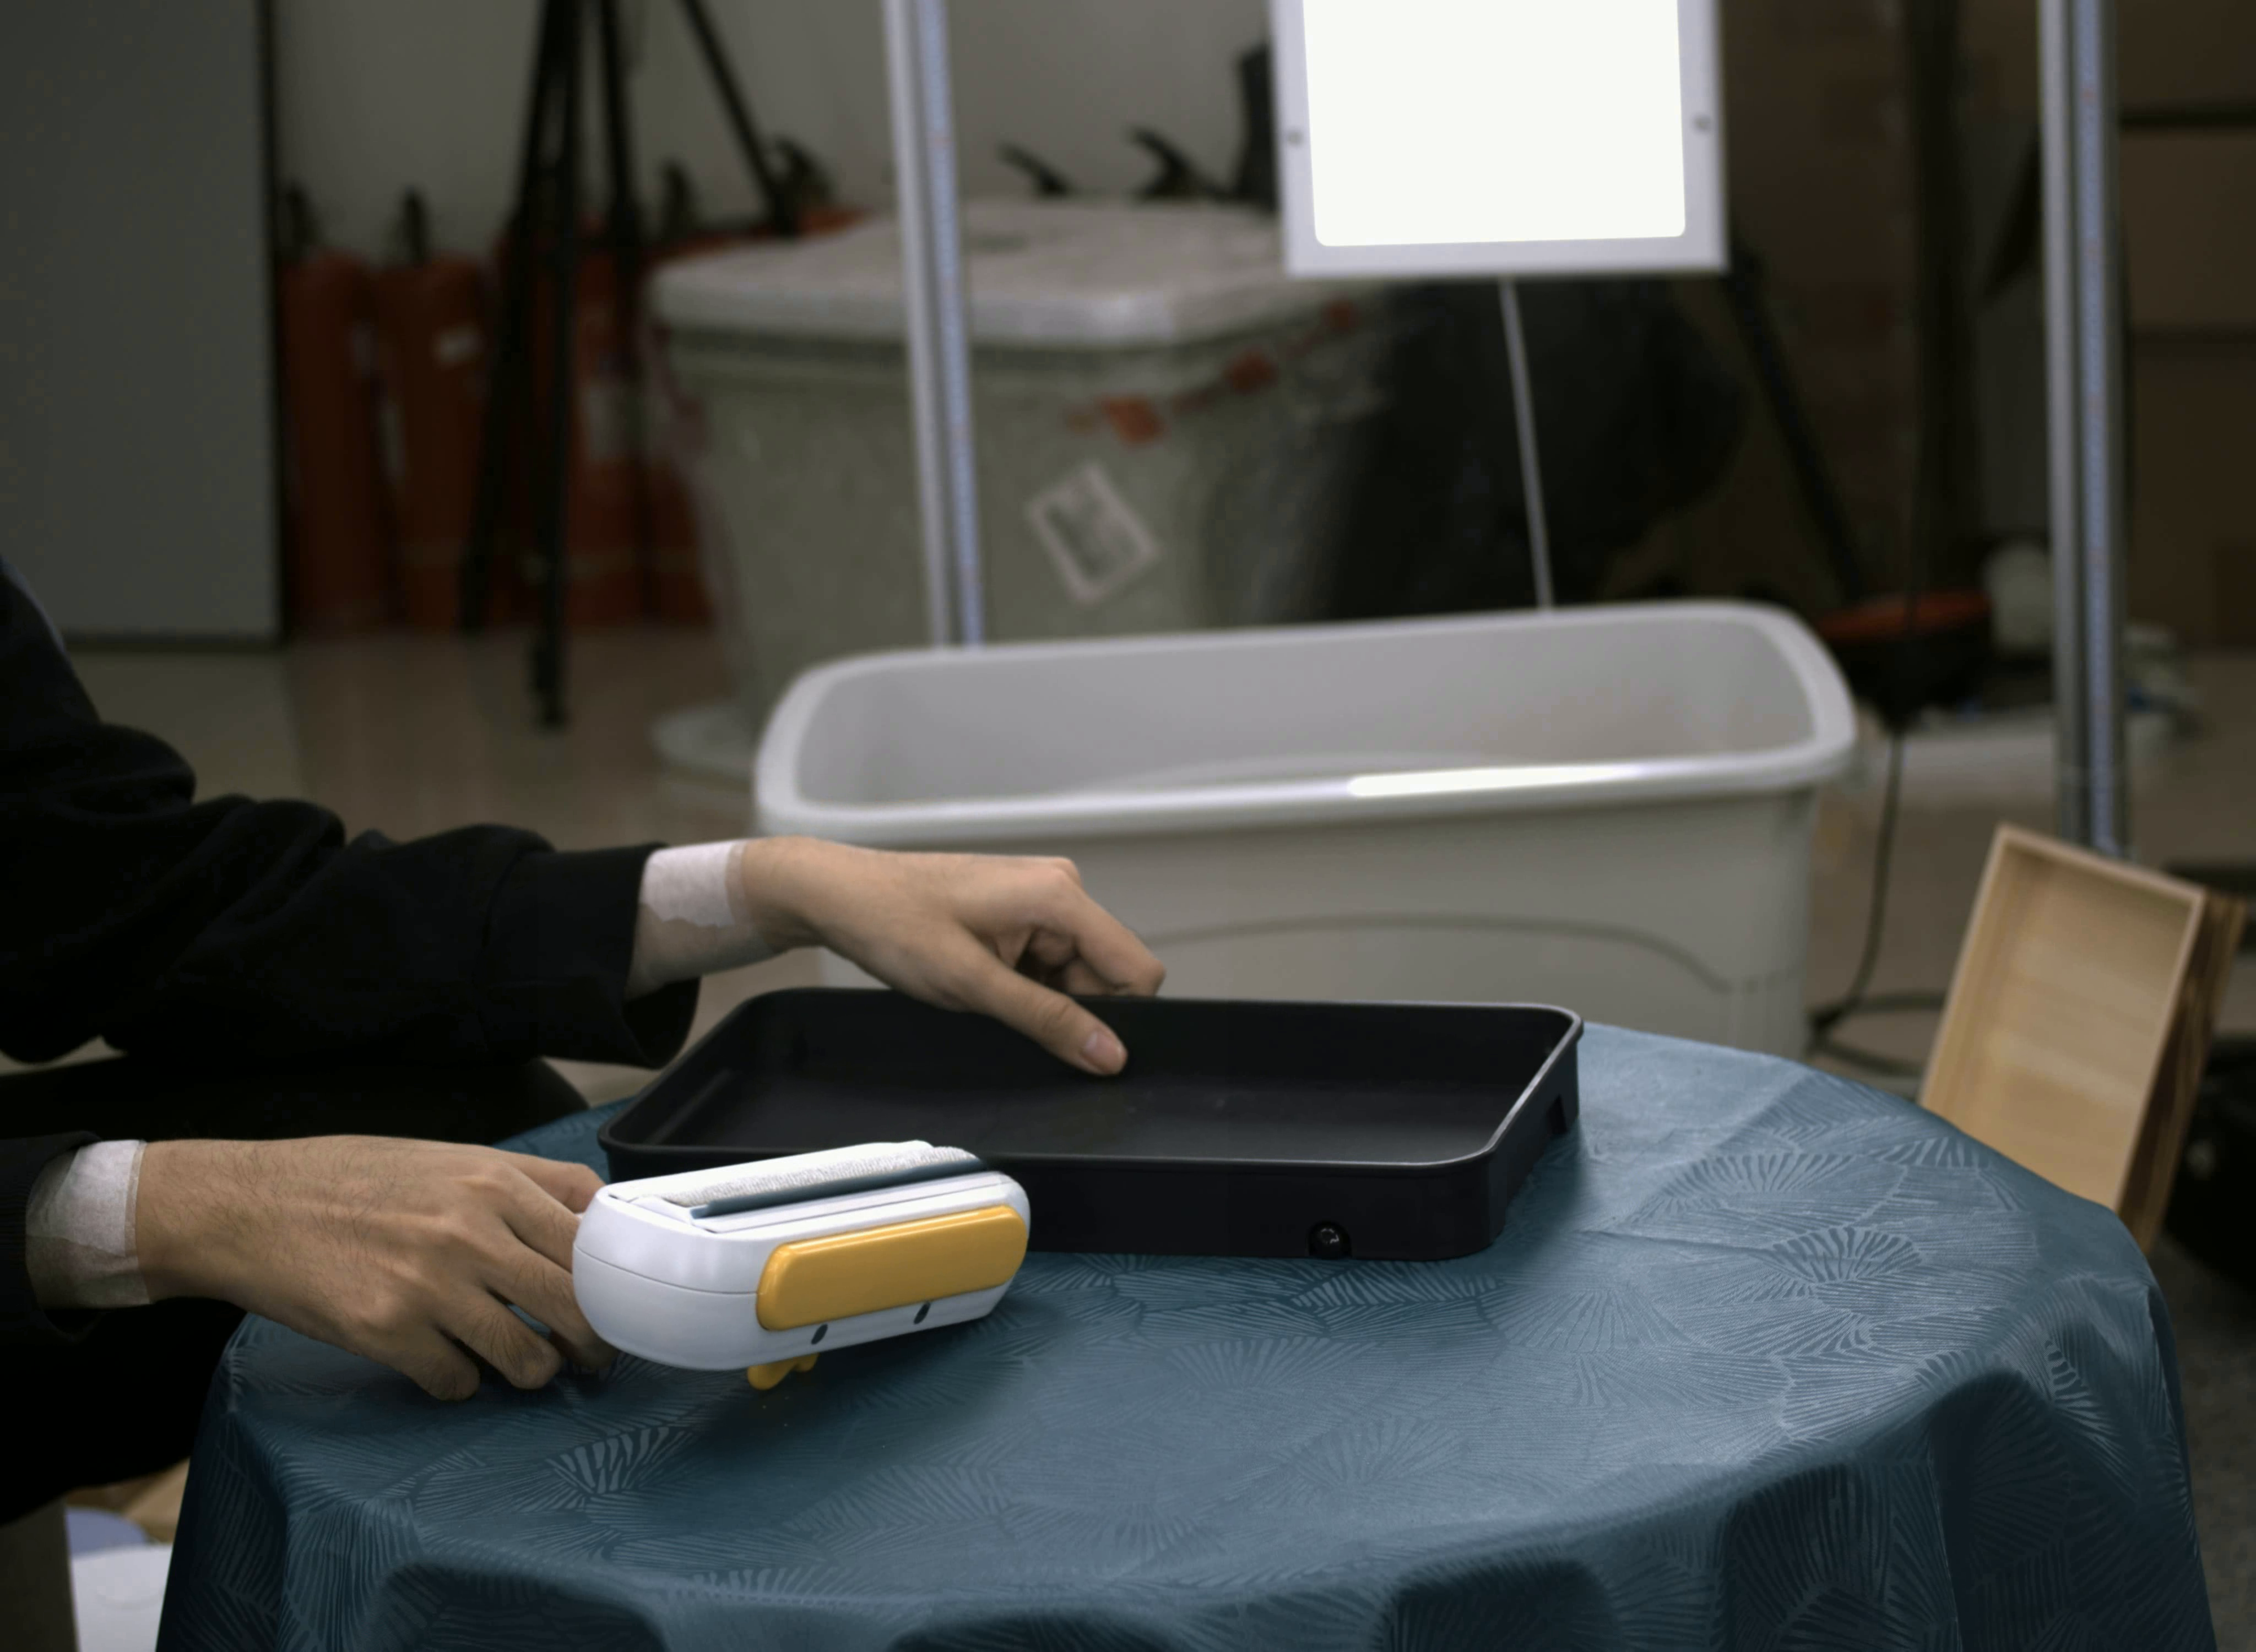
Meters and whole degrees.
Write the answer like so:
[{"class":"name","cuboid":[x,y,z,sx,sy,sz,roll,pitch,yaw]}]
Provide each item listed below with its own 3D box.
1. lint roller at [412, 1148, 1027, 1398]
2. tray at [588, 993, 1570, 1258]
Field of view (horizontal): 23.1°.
[{"class":"lint roller","cuboid":[-0.152,0.136,1.761,0.196,0.074,0.188,6,10,37]},{"class":"tray","cuboid":[-0.014,0.102,1.919,0.321,0.037,0.181,0,16,18]}]
